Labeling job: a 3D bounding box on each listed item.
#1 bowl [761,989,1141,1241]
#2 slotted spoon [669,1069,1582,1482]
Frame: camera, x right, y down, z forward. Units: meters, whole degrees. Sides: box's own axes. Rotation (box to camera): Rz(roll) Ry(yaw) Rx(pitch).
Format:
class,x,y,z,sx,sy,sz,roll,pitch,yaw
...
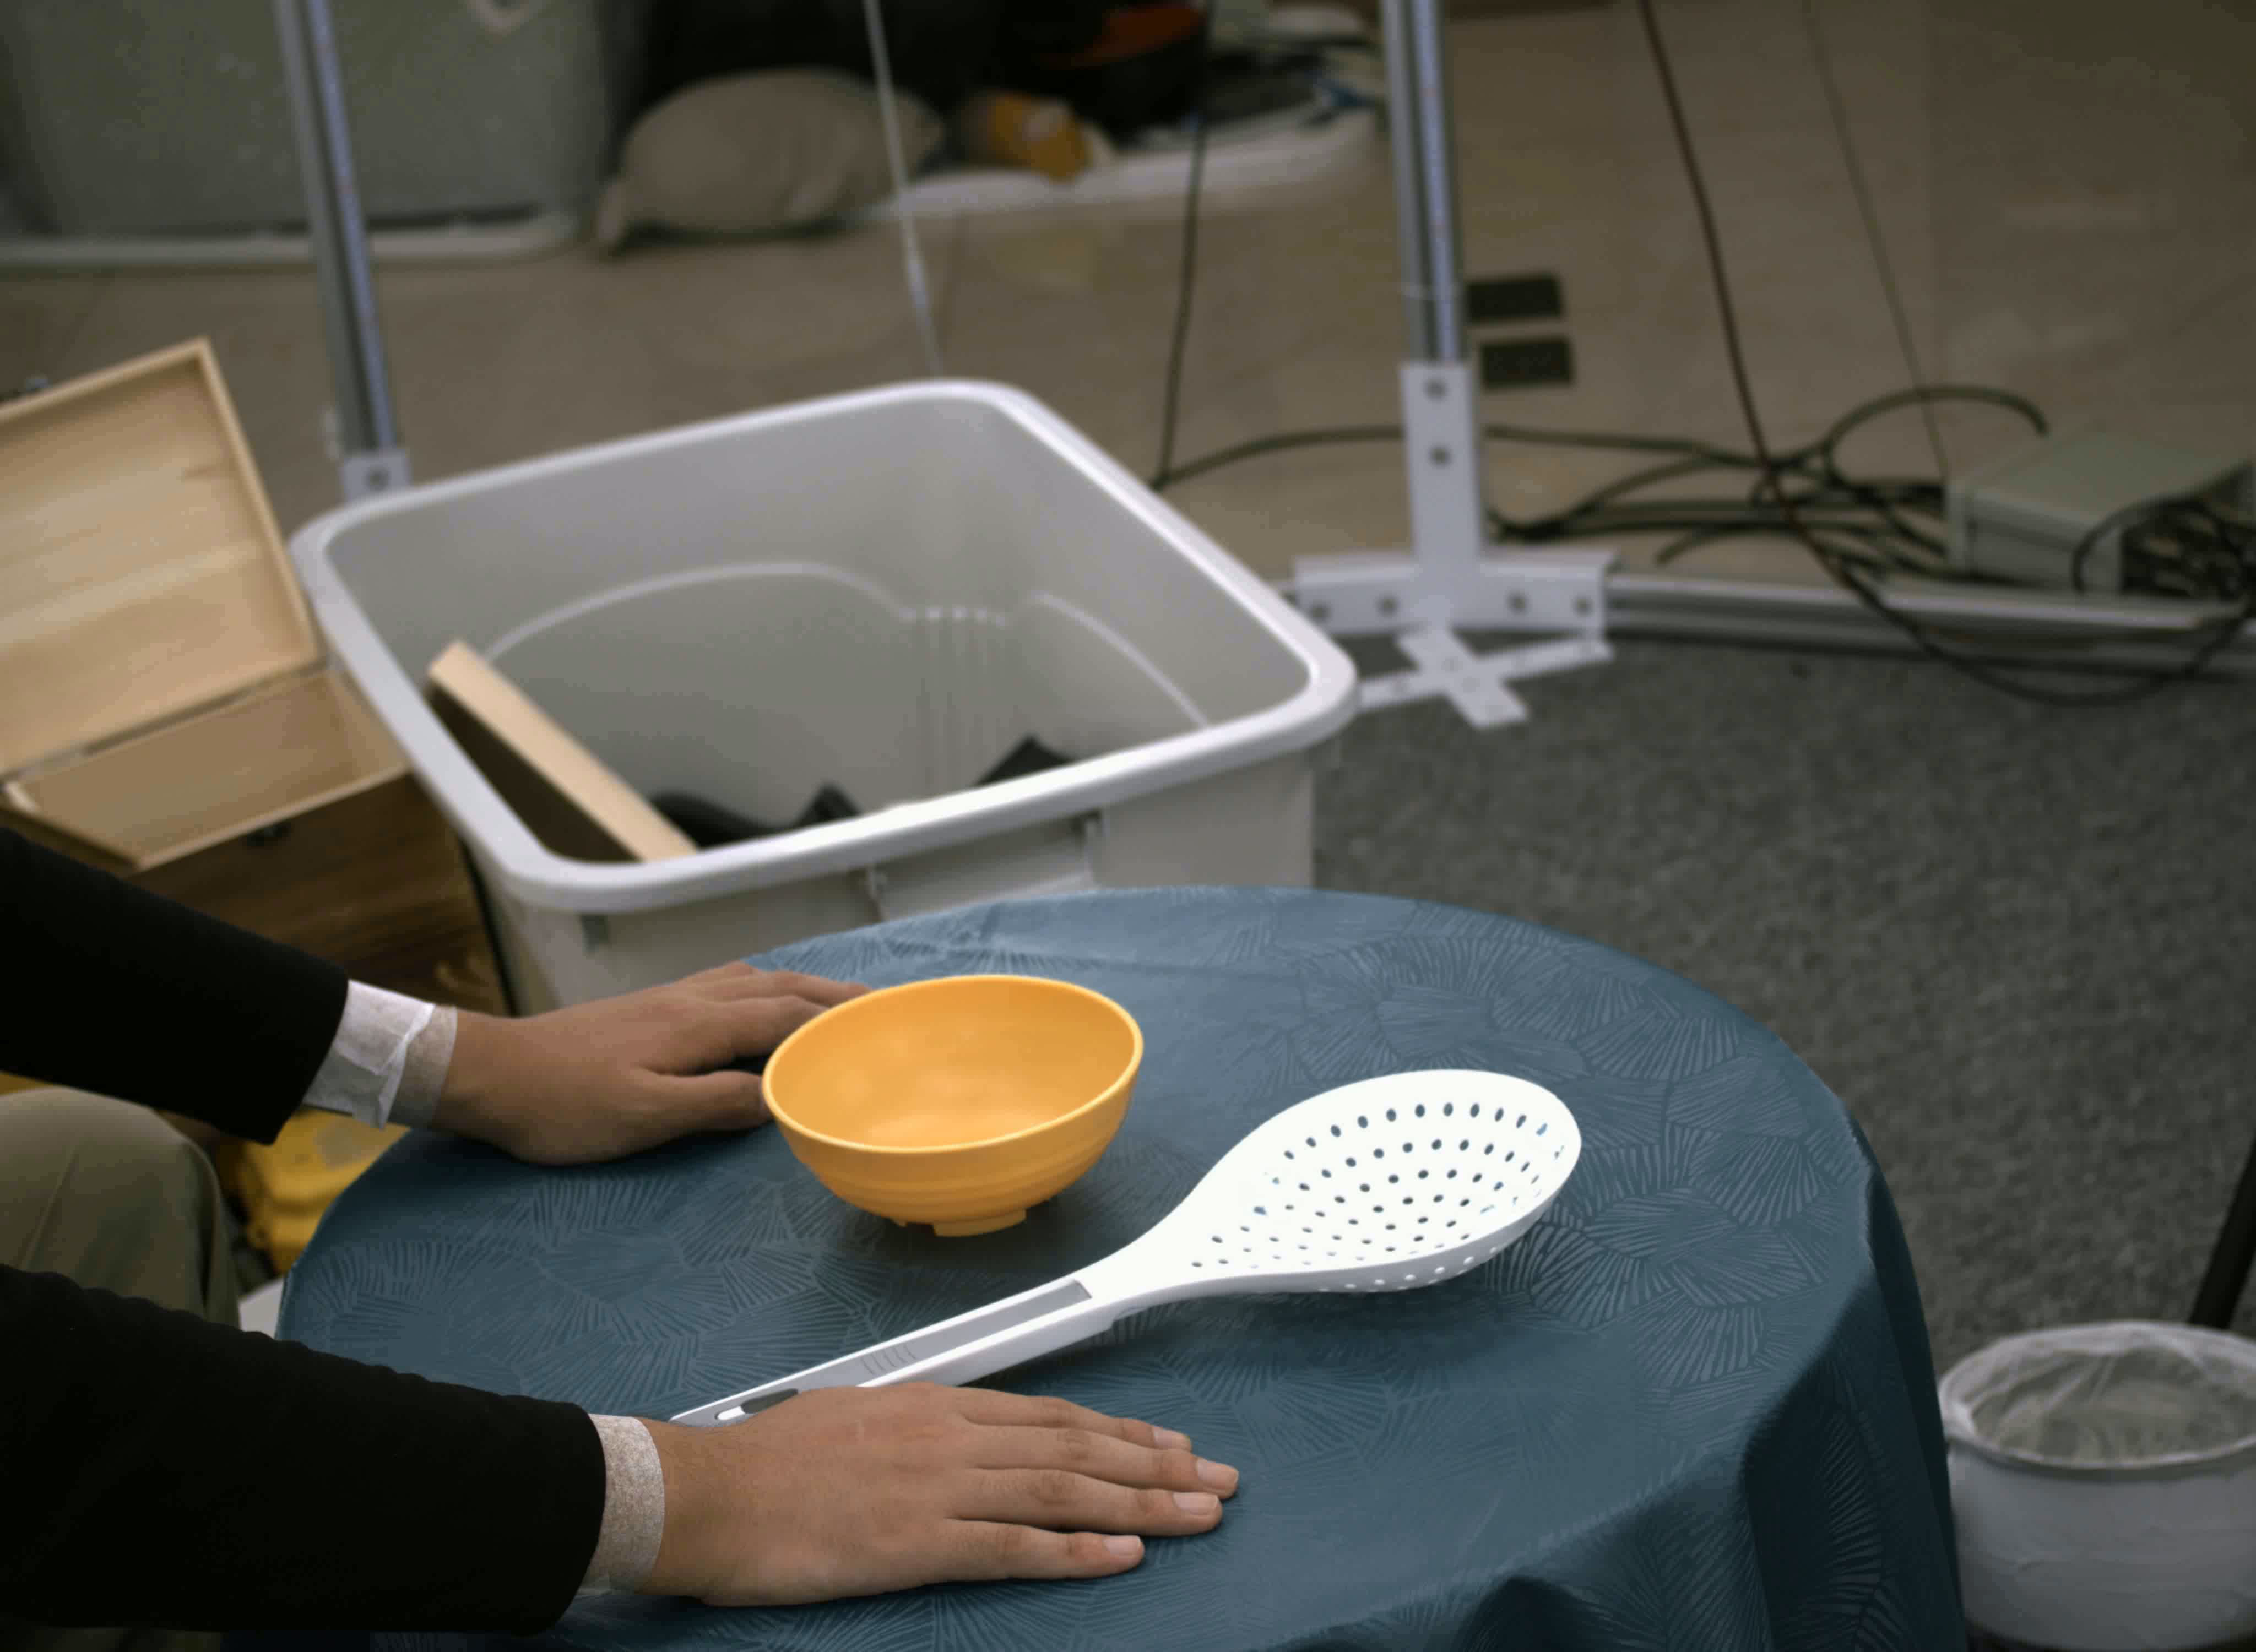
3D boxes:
class,x,y,z,sx,sy,sz,roll,pitch,yaw
bowl,-0.065,0.117,2.146,0.145,0.061,0.143,-5,23,2
slotted spoon,0.001,0.165,2.037,0.348,0.046,0.134,-16,26,-16
